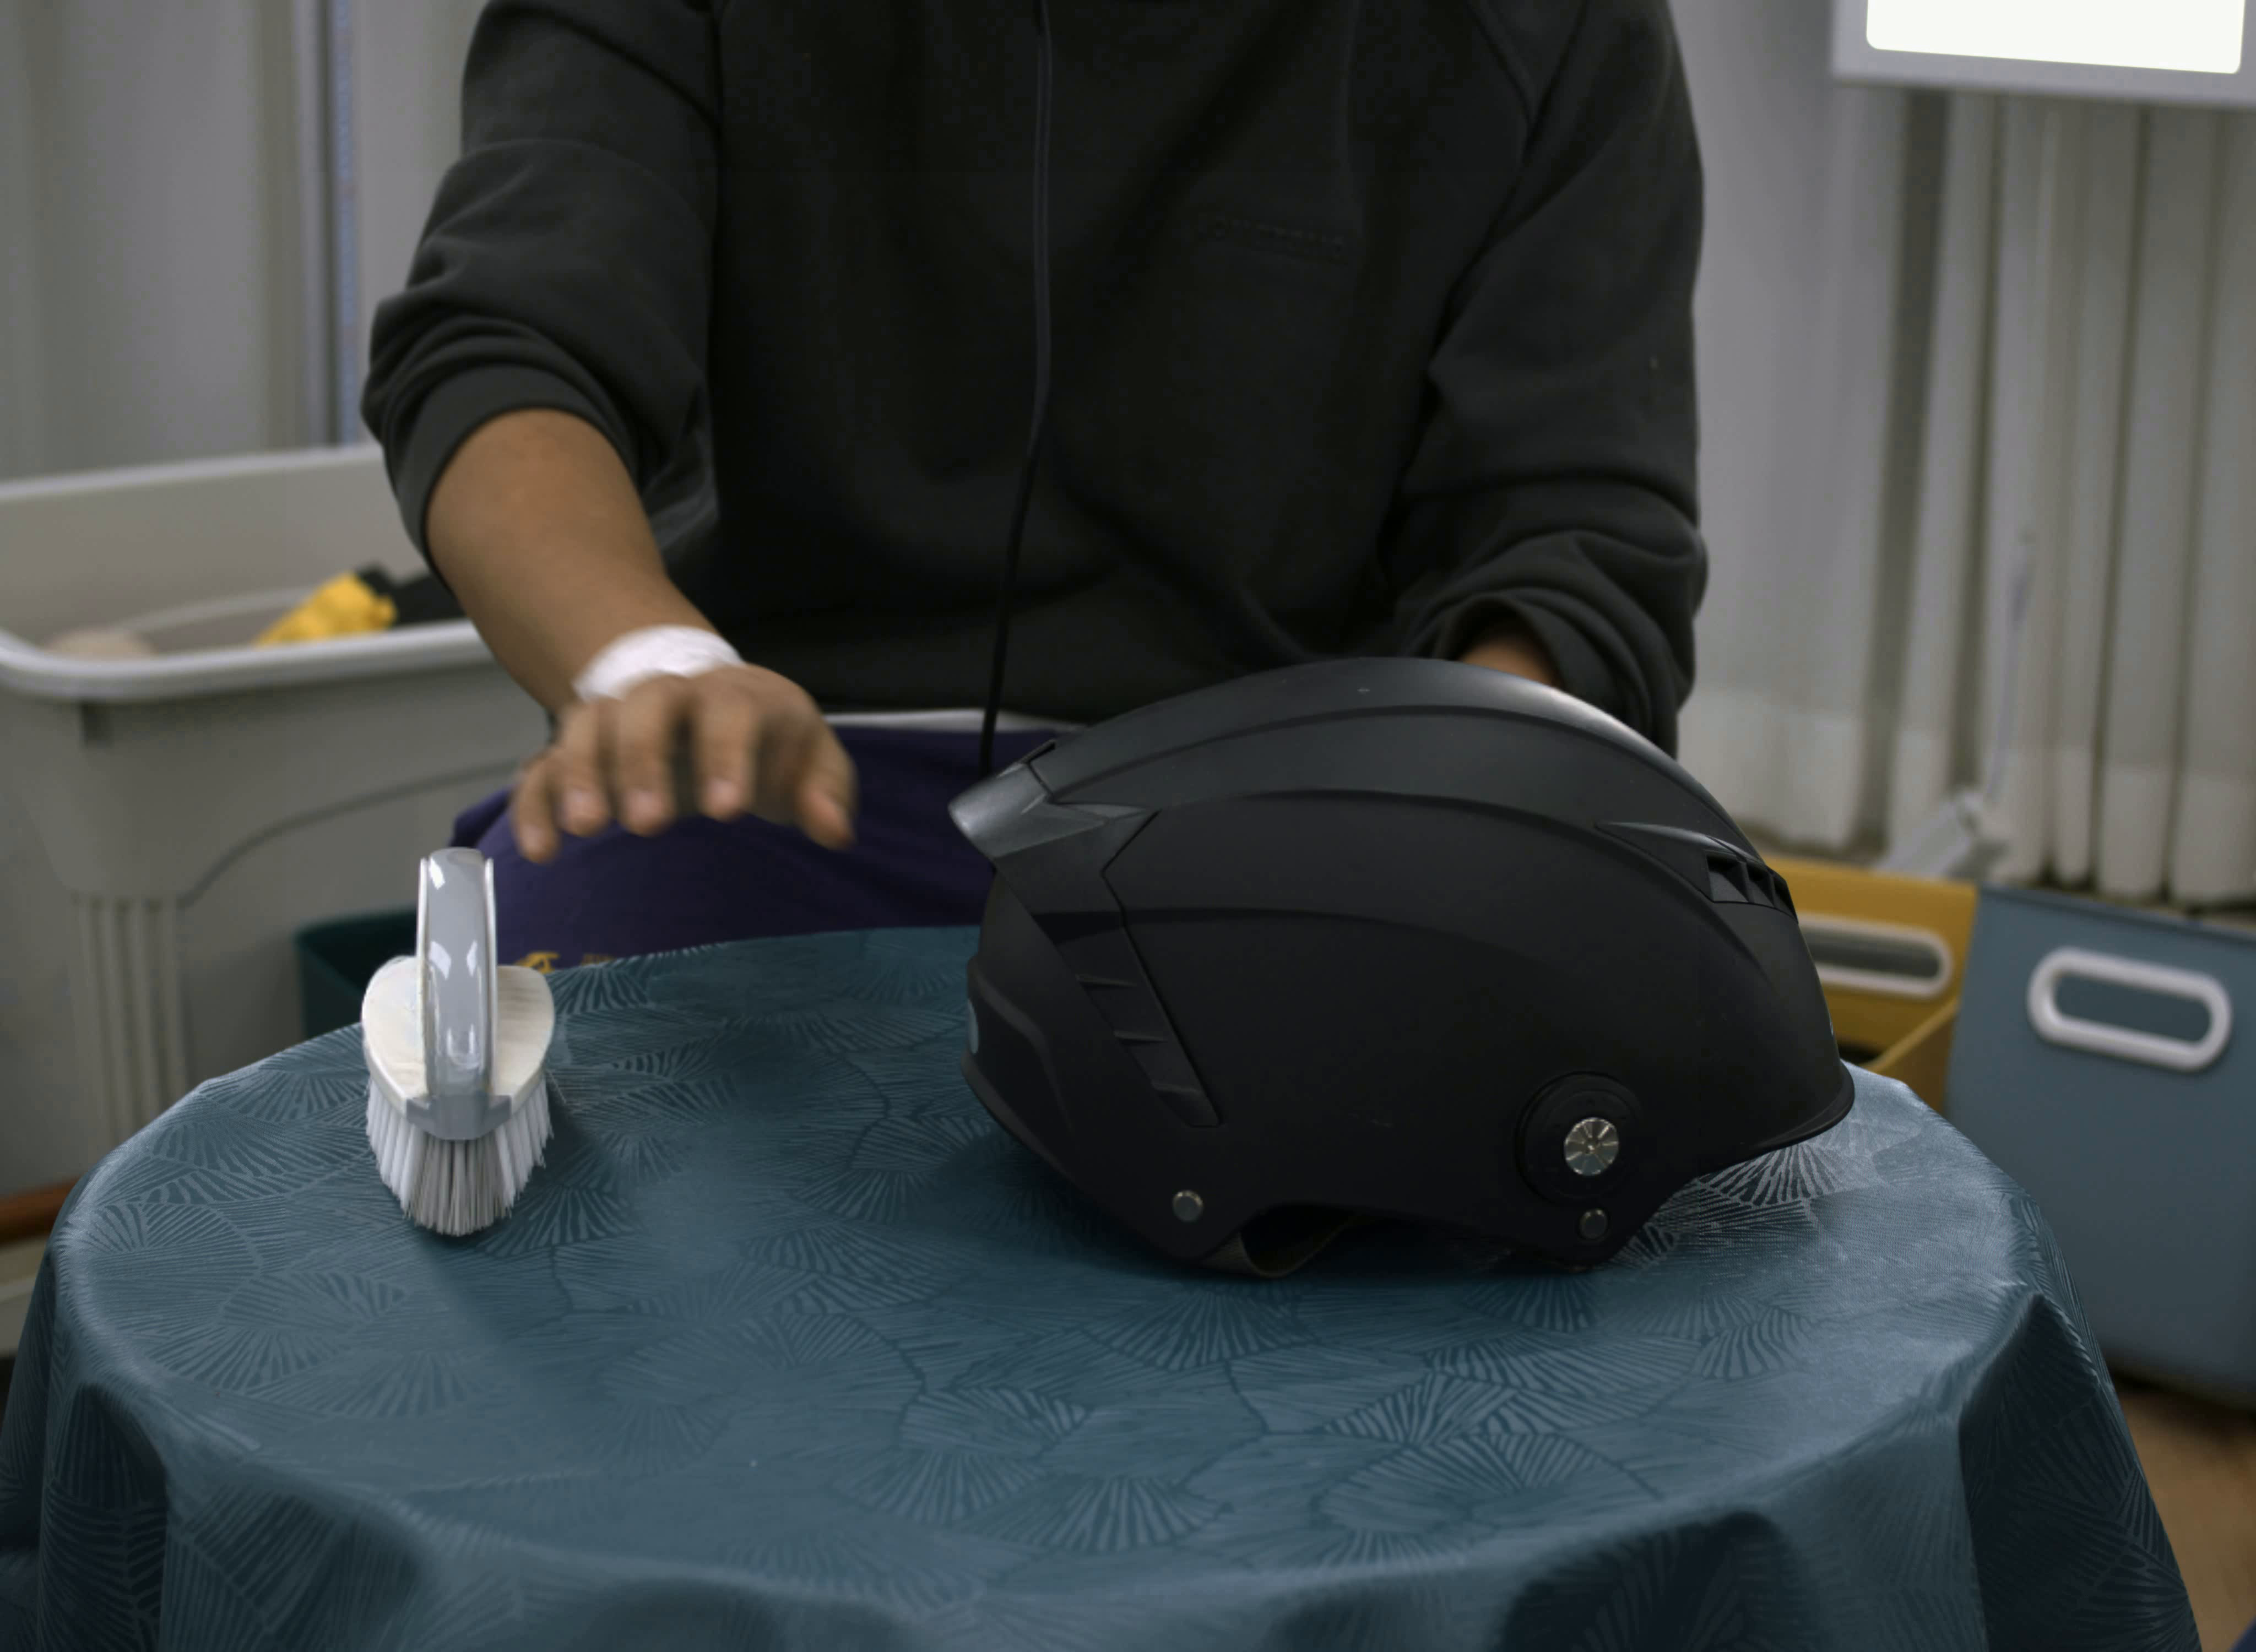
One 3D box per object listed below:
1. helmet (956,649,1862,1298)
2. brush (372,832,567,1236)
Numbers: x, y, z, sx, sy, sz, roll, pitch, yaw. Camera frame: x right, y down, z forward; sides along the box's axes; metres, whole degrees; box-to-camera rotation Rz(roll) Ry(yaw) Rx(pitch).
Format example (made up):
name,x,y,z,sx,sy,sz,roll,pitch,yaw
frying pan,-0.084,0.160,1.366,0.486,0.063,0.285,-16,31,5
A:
name,x,y,z,sx,sy,sz,roll,pitch,yaw
helmet,0.083,0.031,1.620,0.276,0.174,0.244,-6,17,-9
brush,-0.206,0.059,1.638,0.061,0.095,0.174,-3,18,-5
